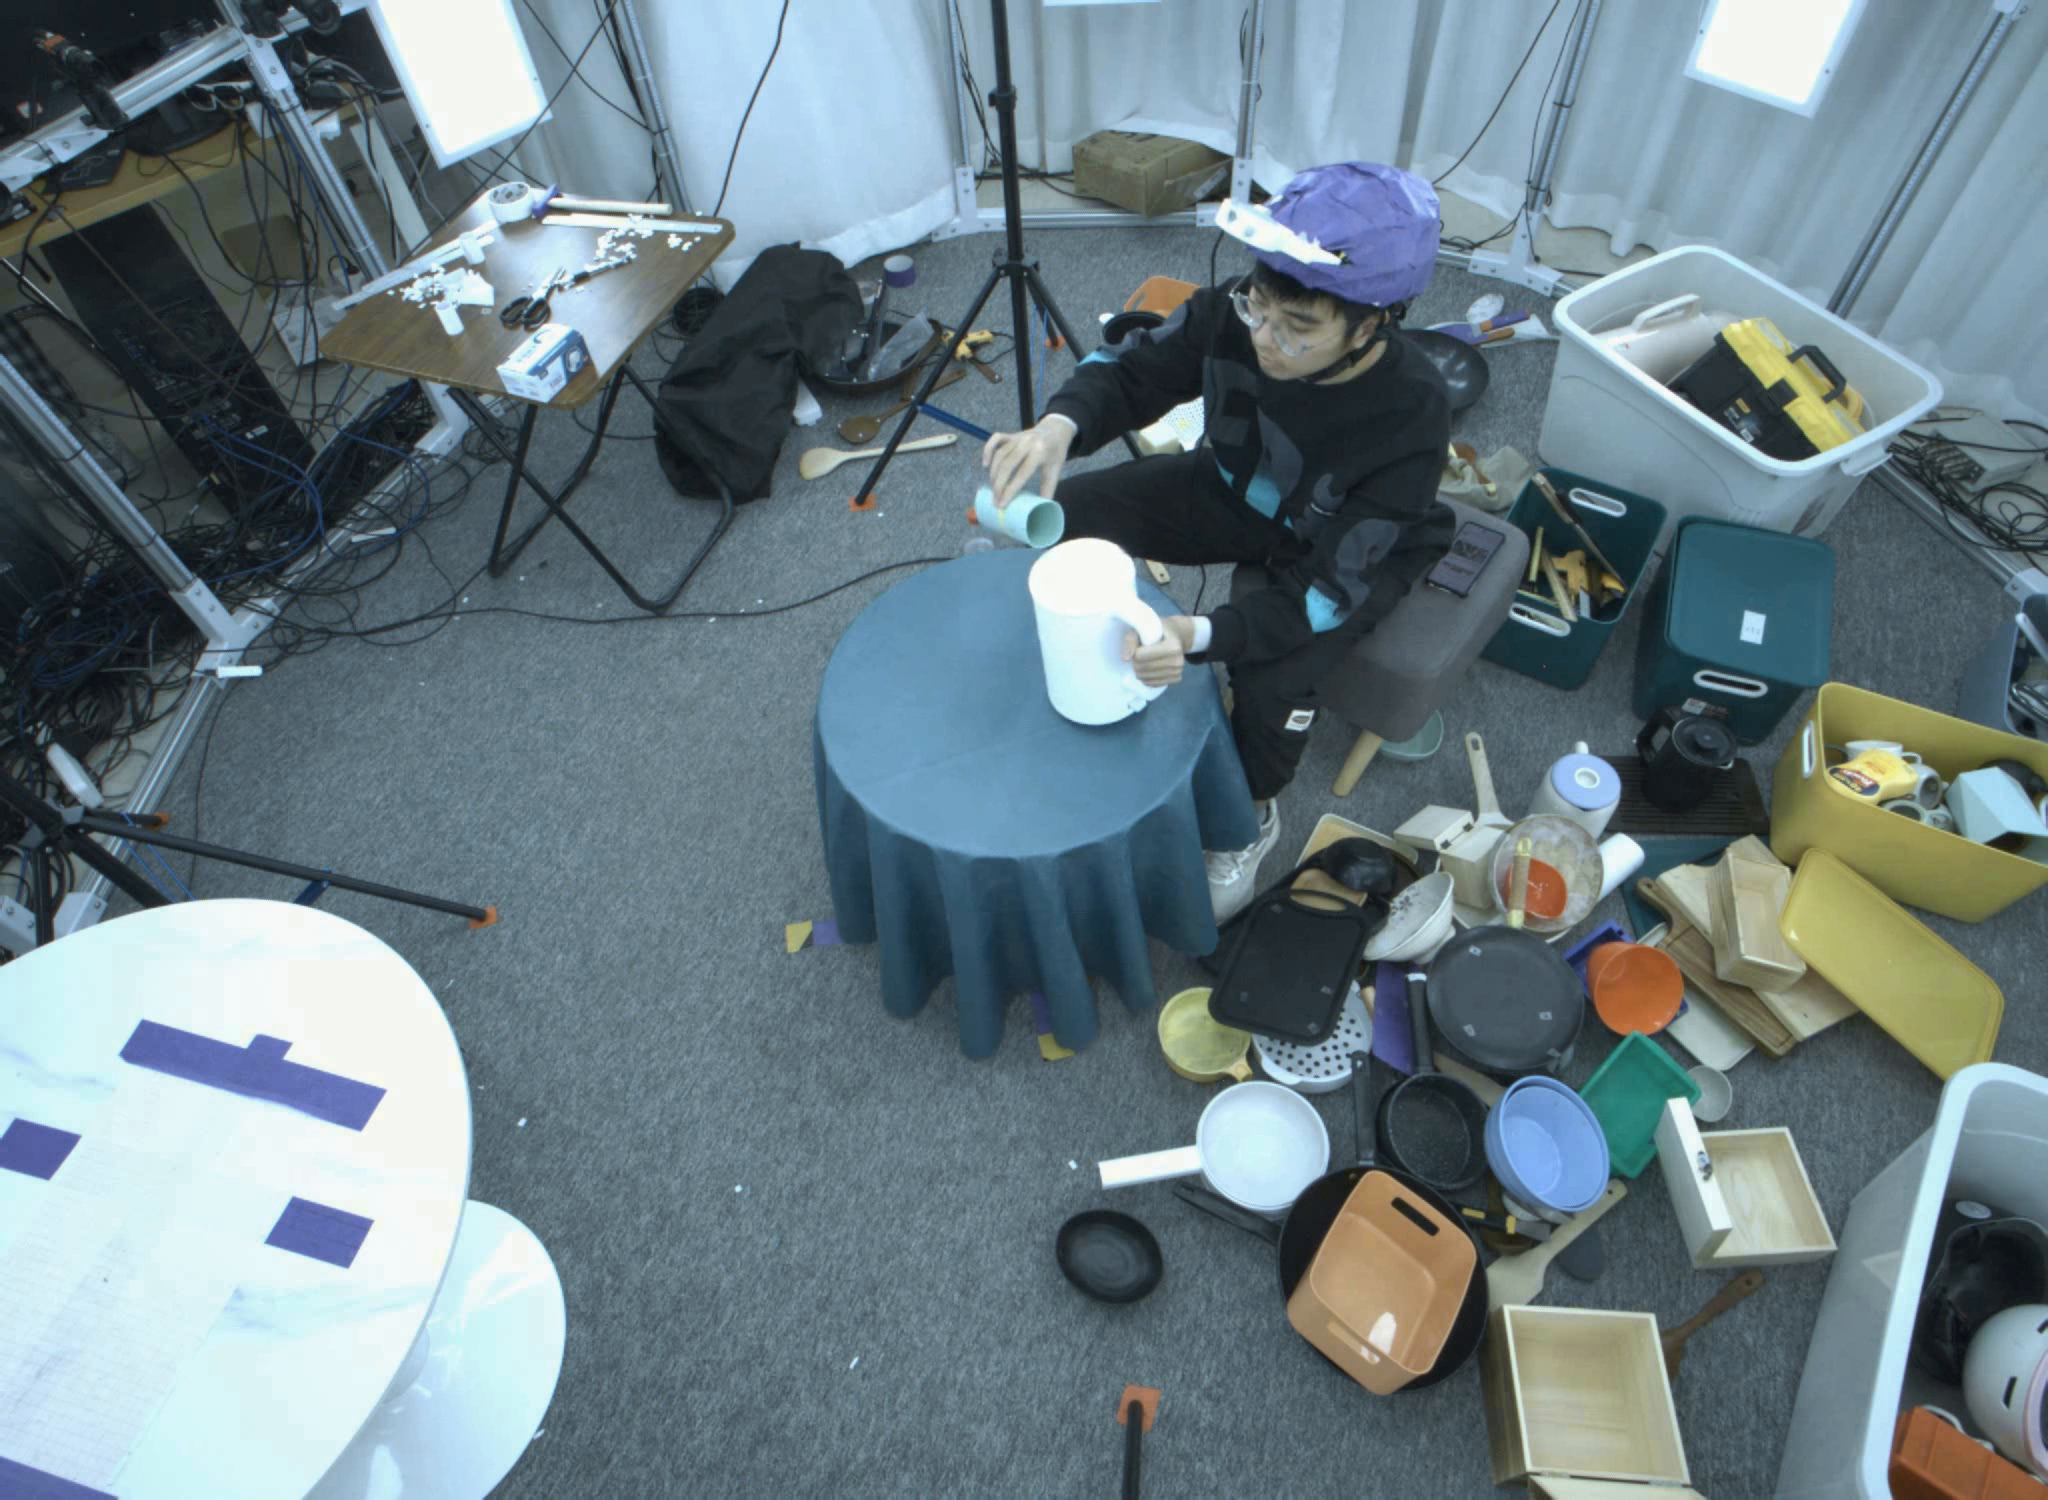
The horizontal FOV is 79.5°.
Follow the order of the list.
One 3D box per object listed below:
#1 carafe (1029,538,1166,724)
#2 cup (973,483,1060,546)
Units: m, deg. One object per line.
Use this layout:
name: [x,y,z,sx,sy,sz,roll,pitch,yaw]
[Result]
carafe: [0.110,-0.152,1.721,0.153,0.244,0.209,-41,57,-19]
cup: [-0.012,-0.325,1.676,0.067,0.068,0.129,-33,37,-19]
